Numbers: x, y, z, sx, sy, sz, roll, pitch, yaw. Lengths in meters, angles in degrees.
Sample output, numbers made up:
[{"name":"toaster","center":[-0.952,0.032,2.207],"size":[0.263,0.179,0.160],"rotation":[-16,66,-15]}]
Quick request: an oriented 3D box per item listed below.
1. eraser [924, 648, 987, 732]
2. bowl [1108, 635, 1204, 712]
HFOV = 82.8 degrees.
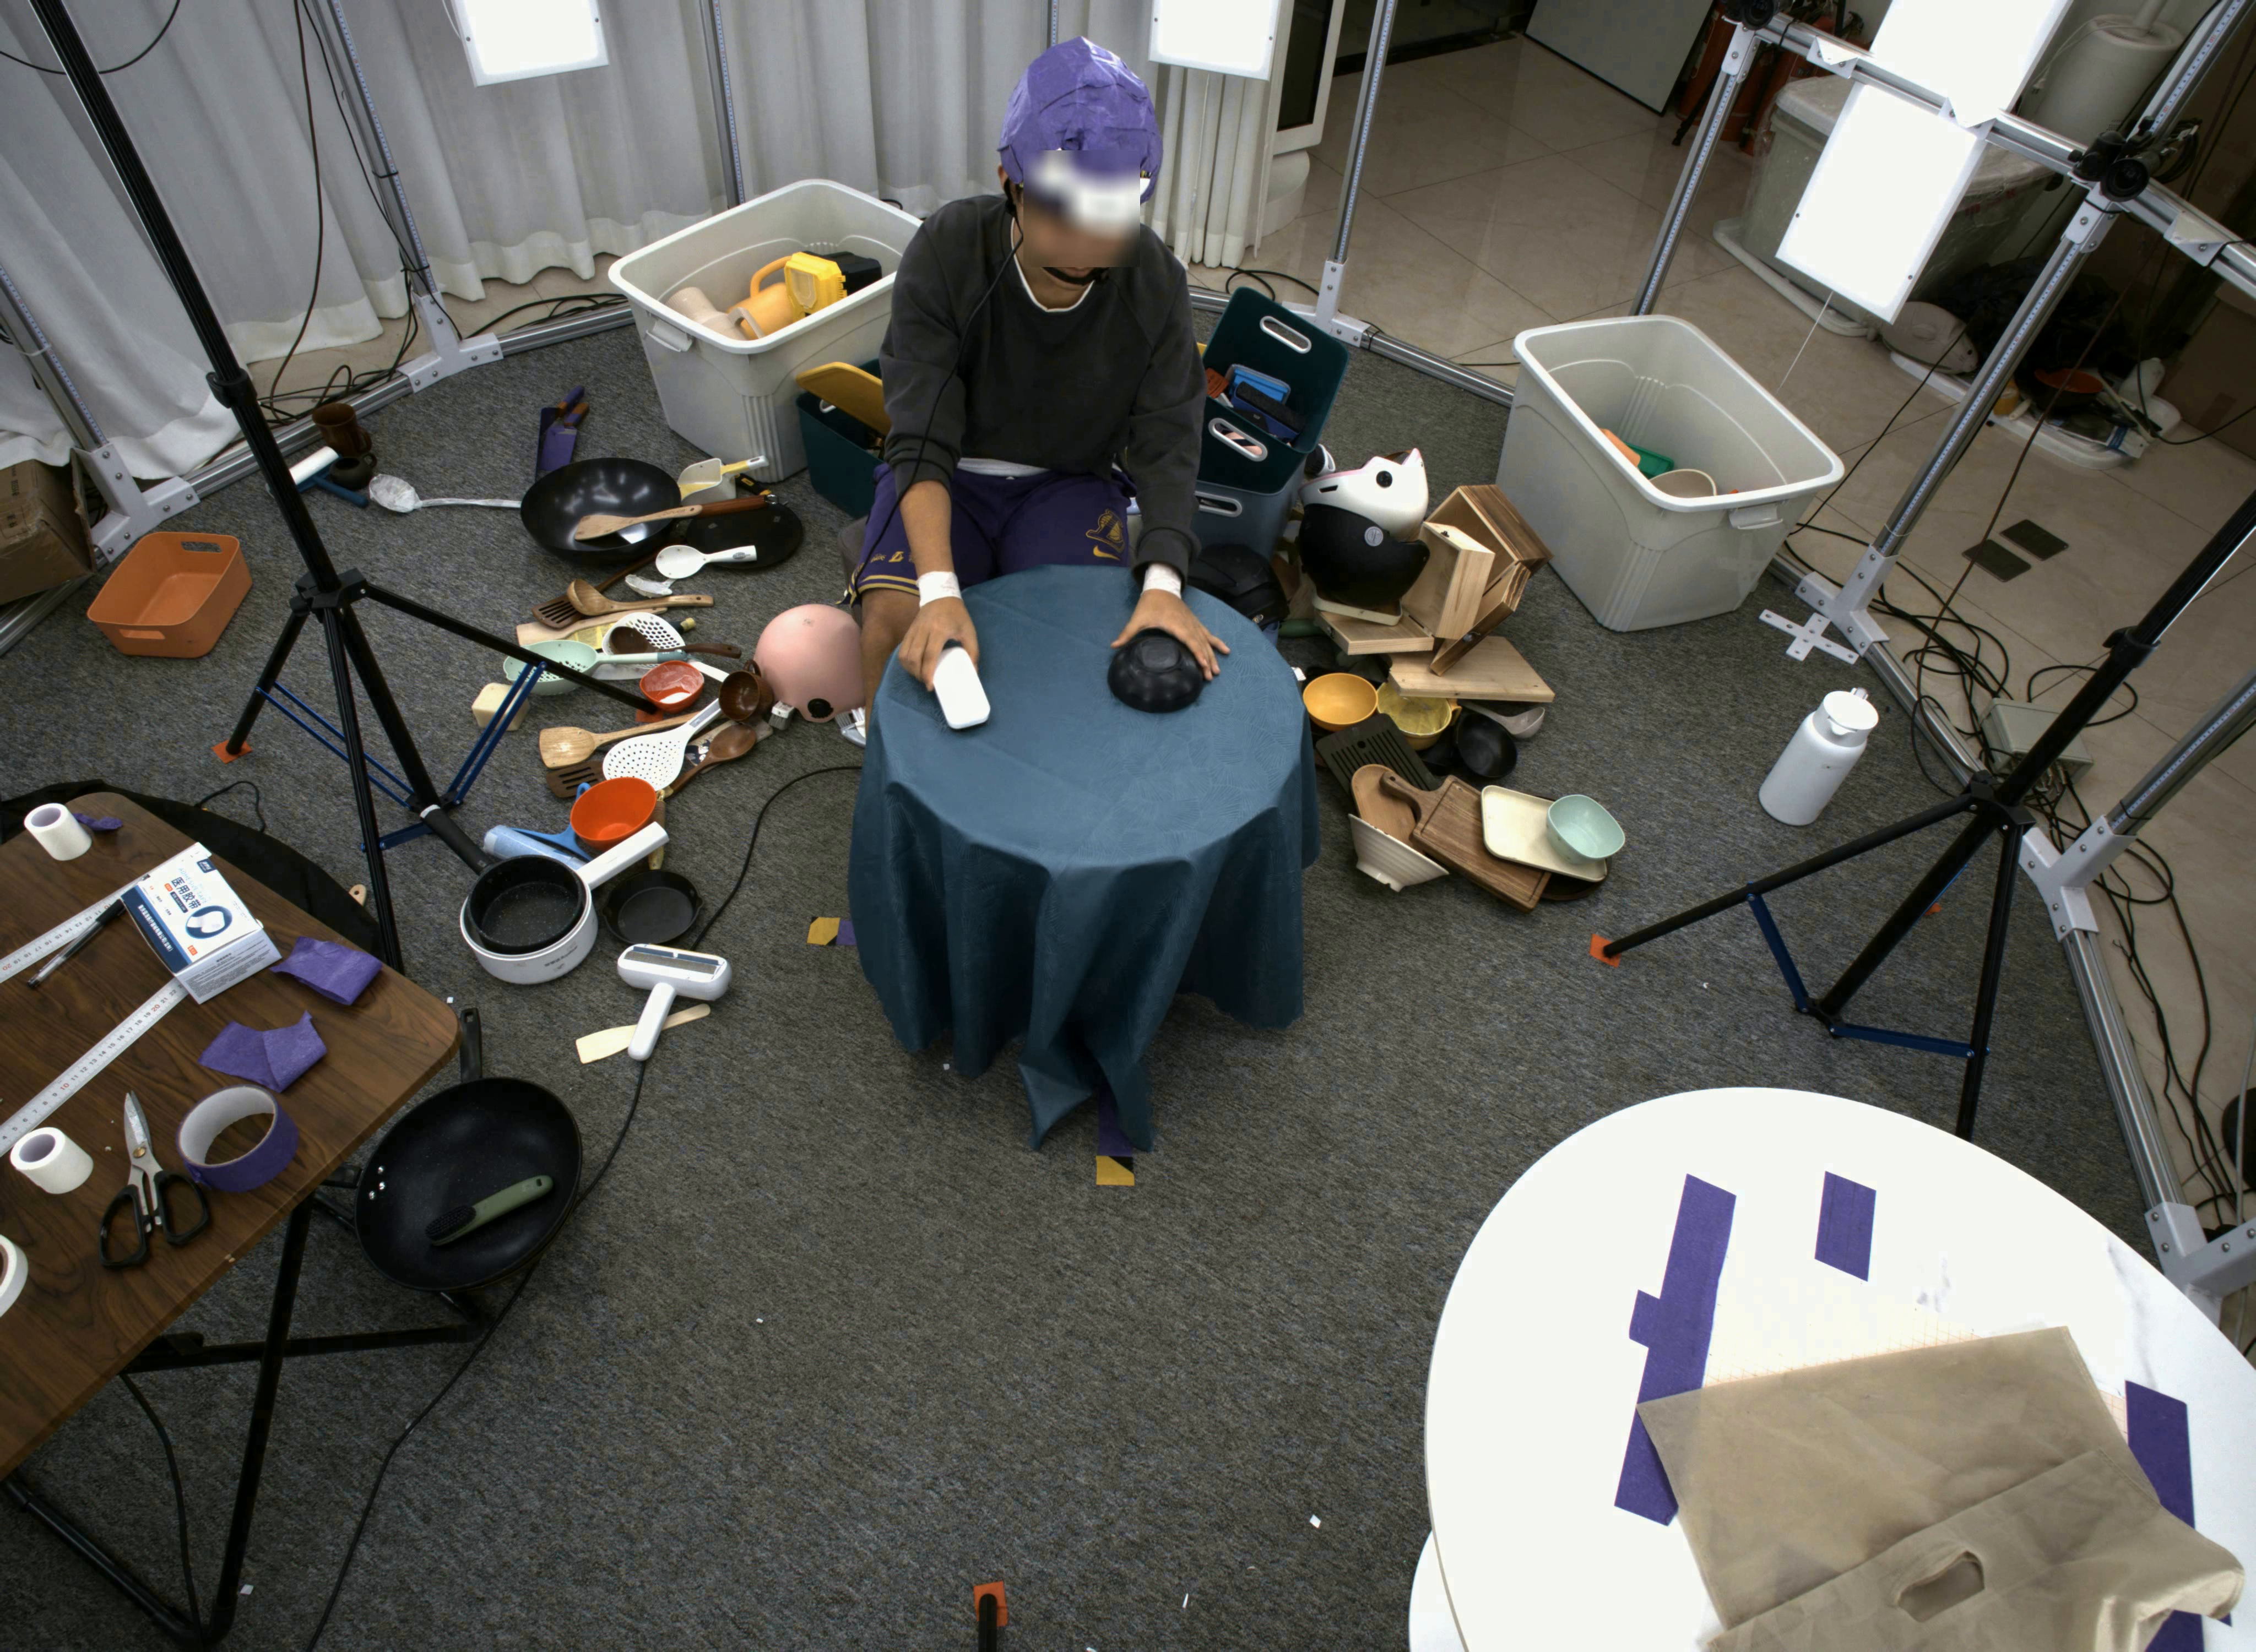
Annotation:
[{"name":"eraser","center":[-0.238,-0.192,1.788],"size":[0.063,0.034,0.134],"rotation":[-13,58,-15]},{"name":"bowl","center":[0.041,-0.229,1.835],"size":[0.140,0.048,0.143],"rotation":[1,50,-2]}]
